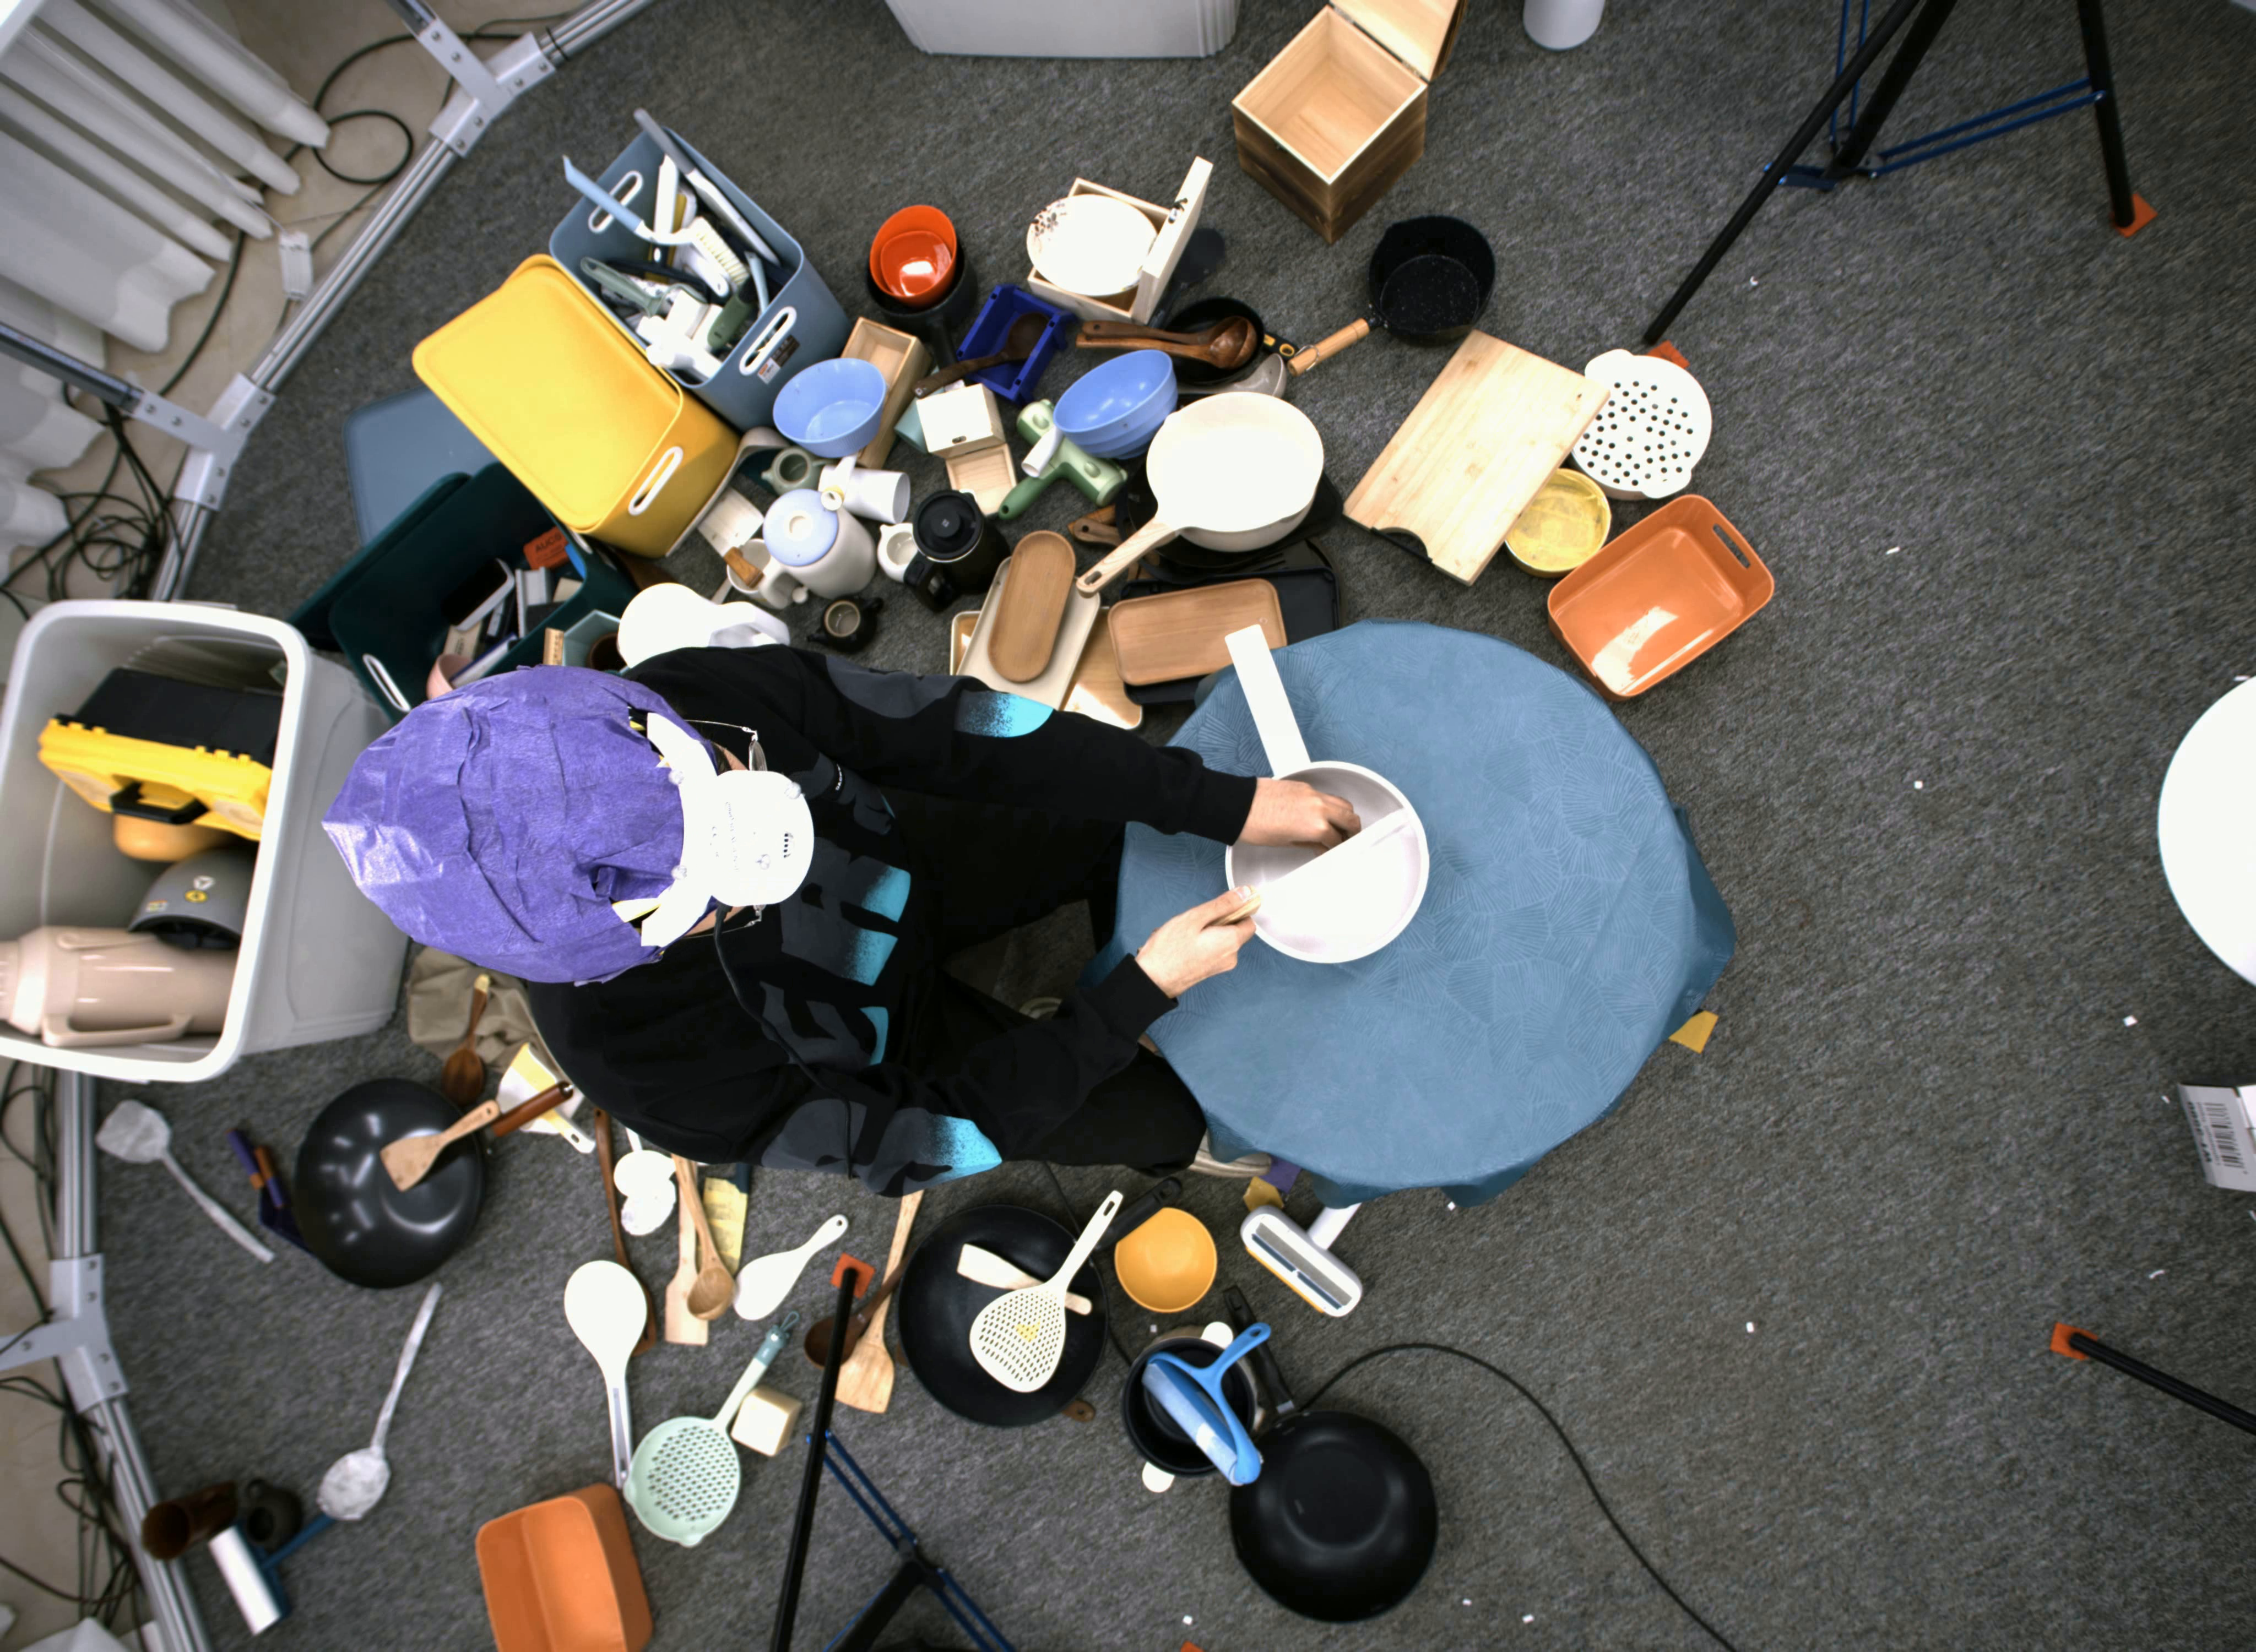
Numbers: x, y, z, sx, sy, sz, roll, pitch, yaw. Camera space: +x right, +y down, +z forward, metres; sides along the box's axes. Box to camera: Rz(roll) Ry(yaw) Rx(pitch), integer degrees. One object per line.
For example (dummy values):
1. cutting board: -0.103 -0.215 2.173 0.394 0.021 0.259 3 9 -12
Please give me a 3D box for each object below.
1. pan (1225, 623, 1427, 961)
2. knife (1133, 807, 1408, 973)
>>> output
1. pan: 0.181 -0.034 1.434 0.202 0.102 0.352 -20 83 10
2. knife: 0.143 0.059 1.338 0.313 0.116 0.021 -27 75 -12
